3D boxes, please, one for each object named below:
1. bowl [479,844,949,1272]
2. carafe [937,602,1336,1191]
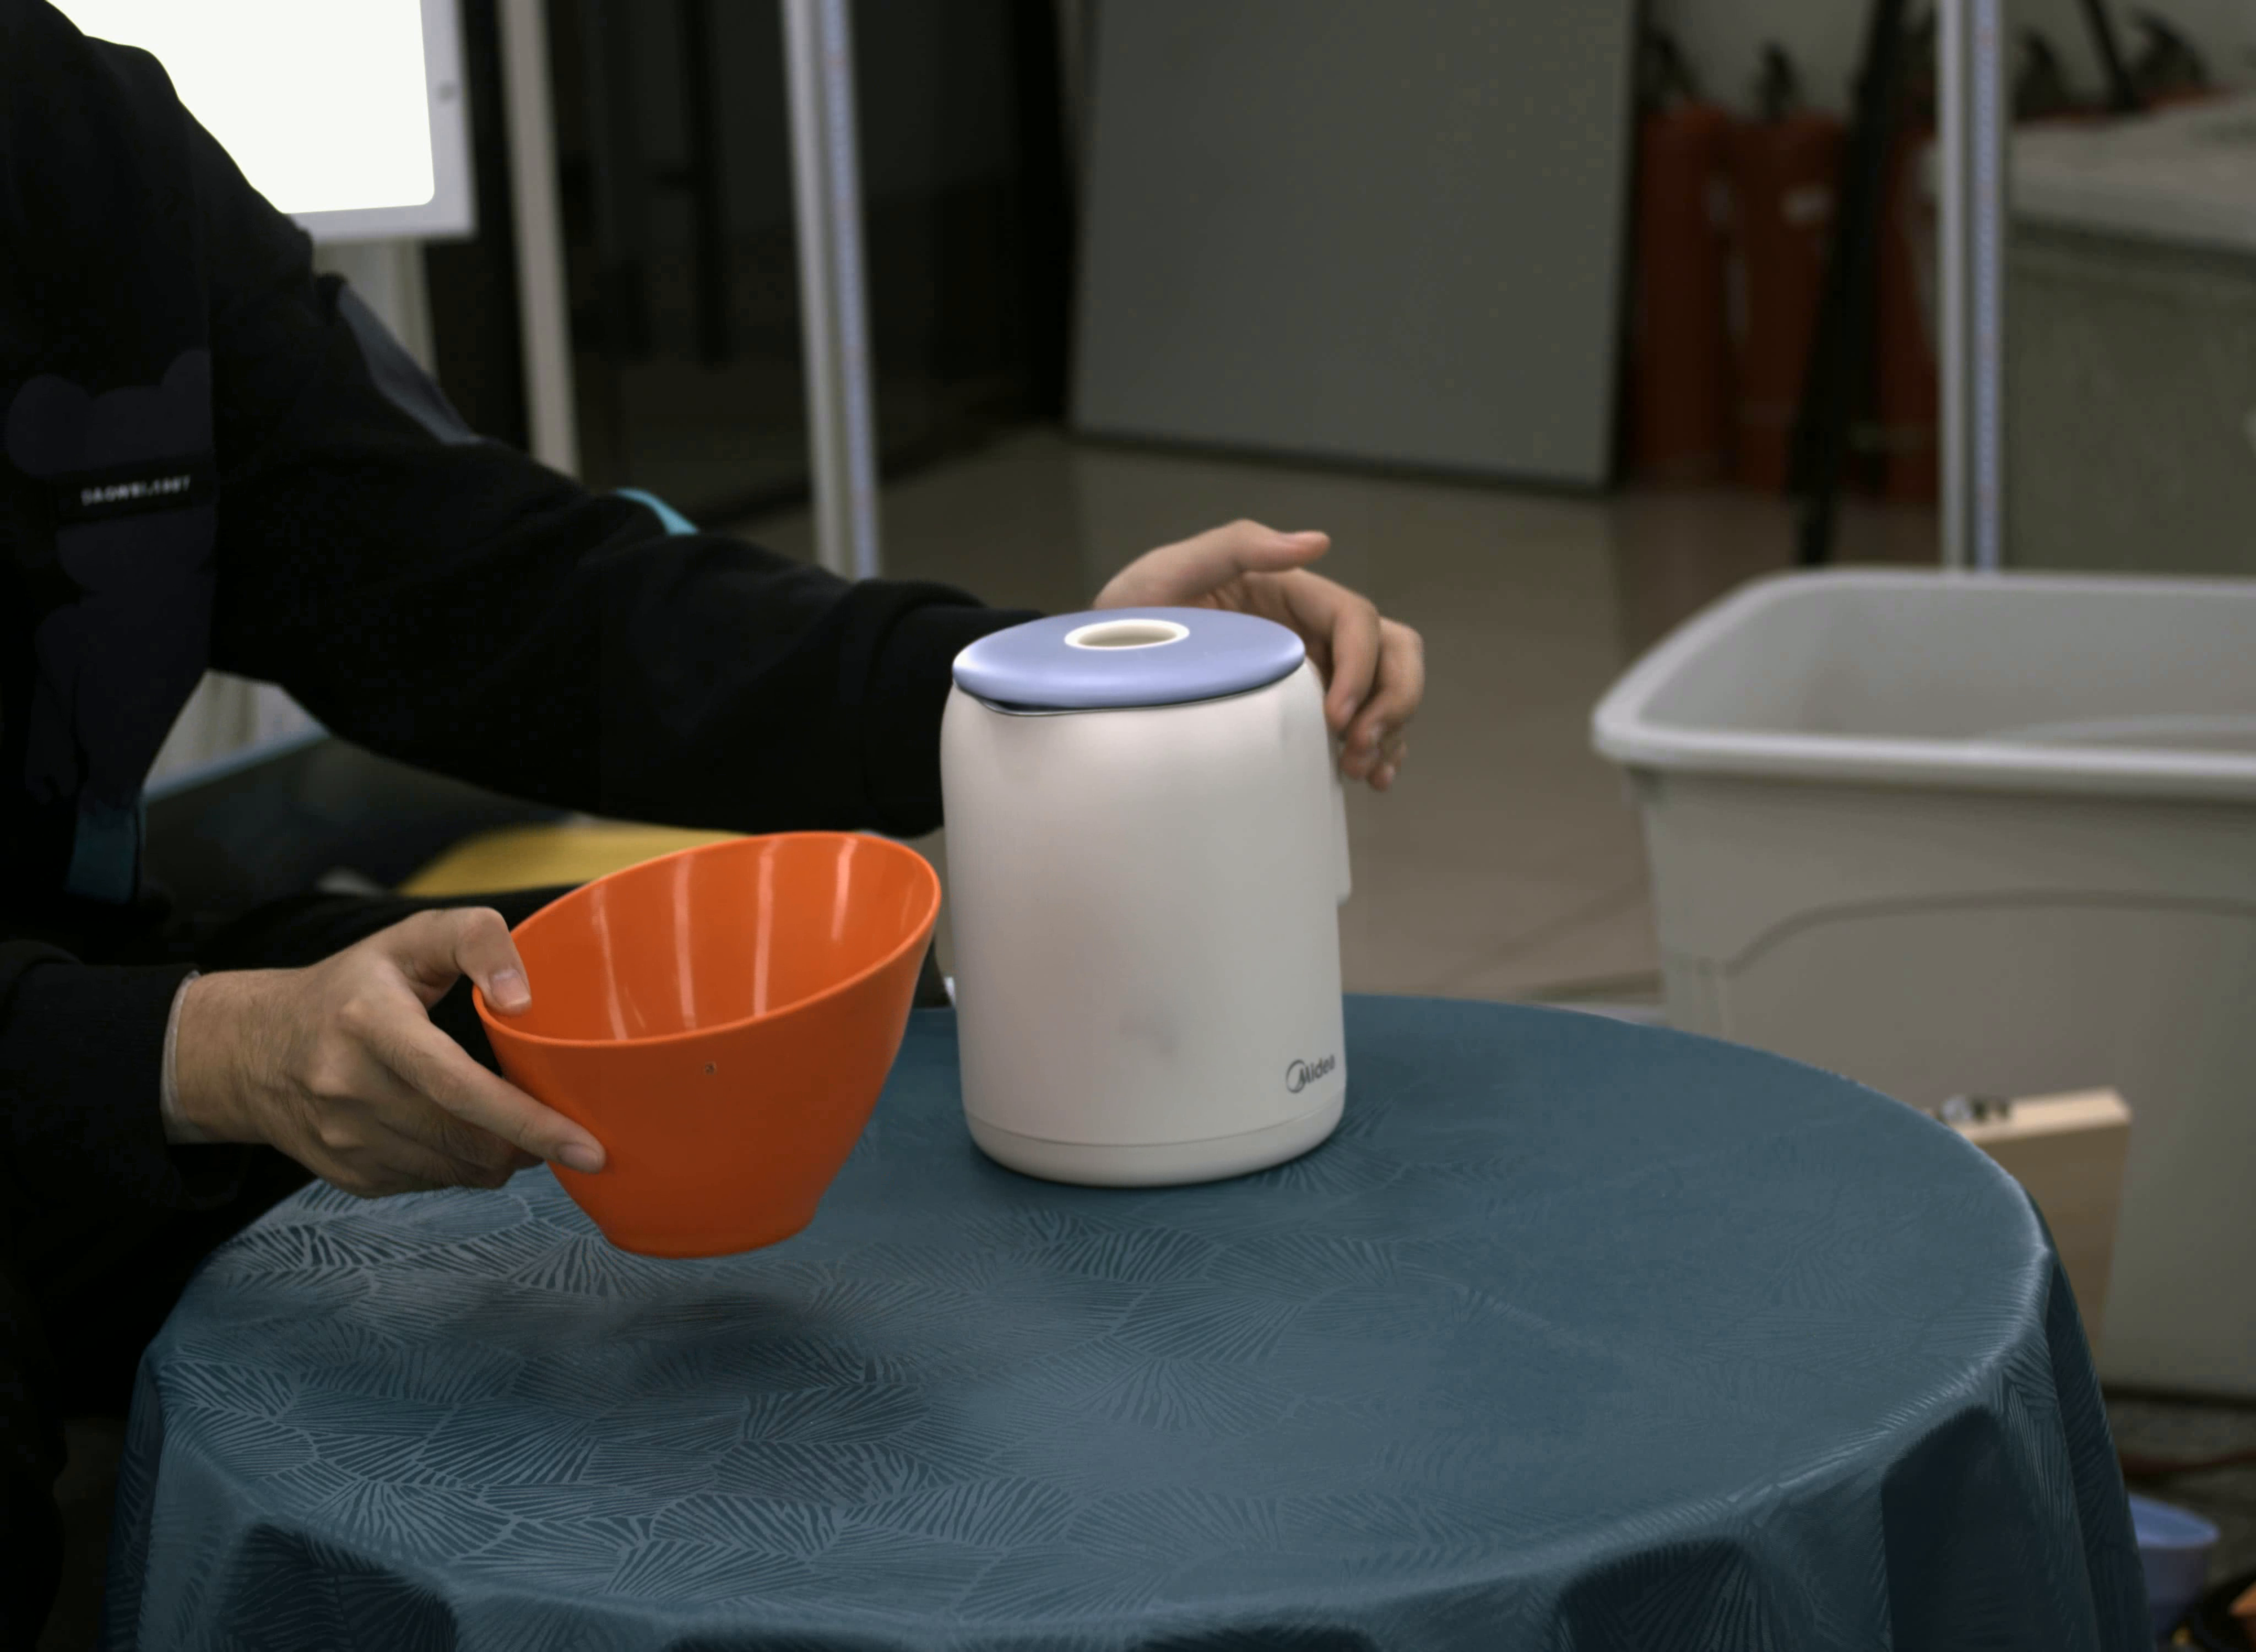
[{"bbox_3d":[-0.124,0.075,1.673,0.146,0.106,0.148,-4,15,0],"label":"bowl"},{"bbox_3d":[0.016,0.018,1.828,0.133,0.184,0.188,7,15,33],"label":"carafe"}]
